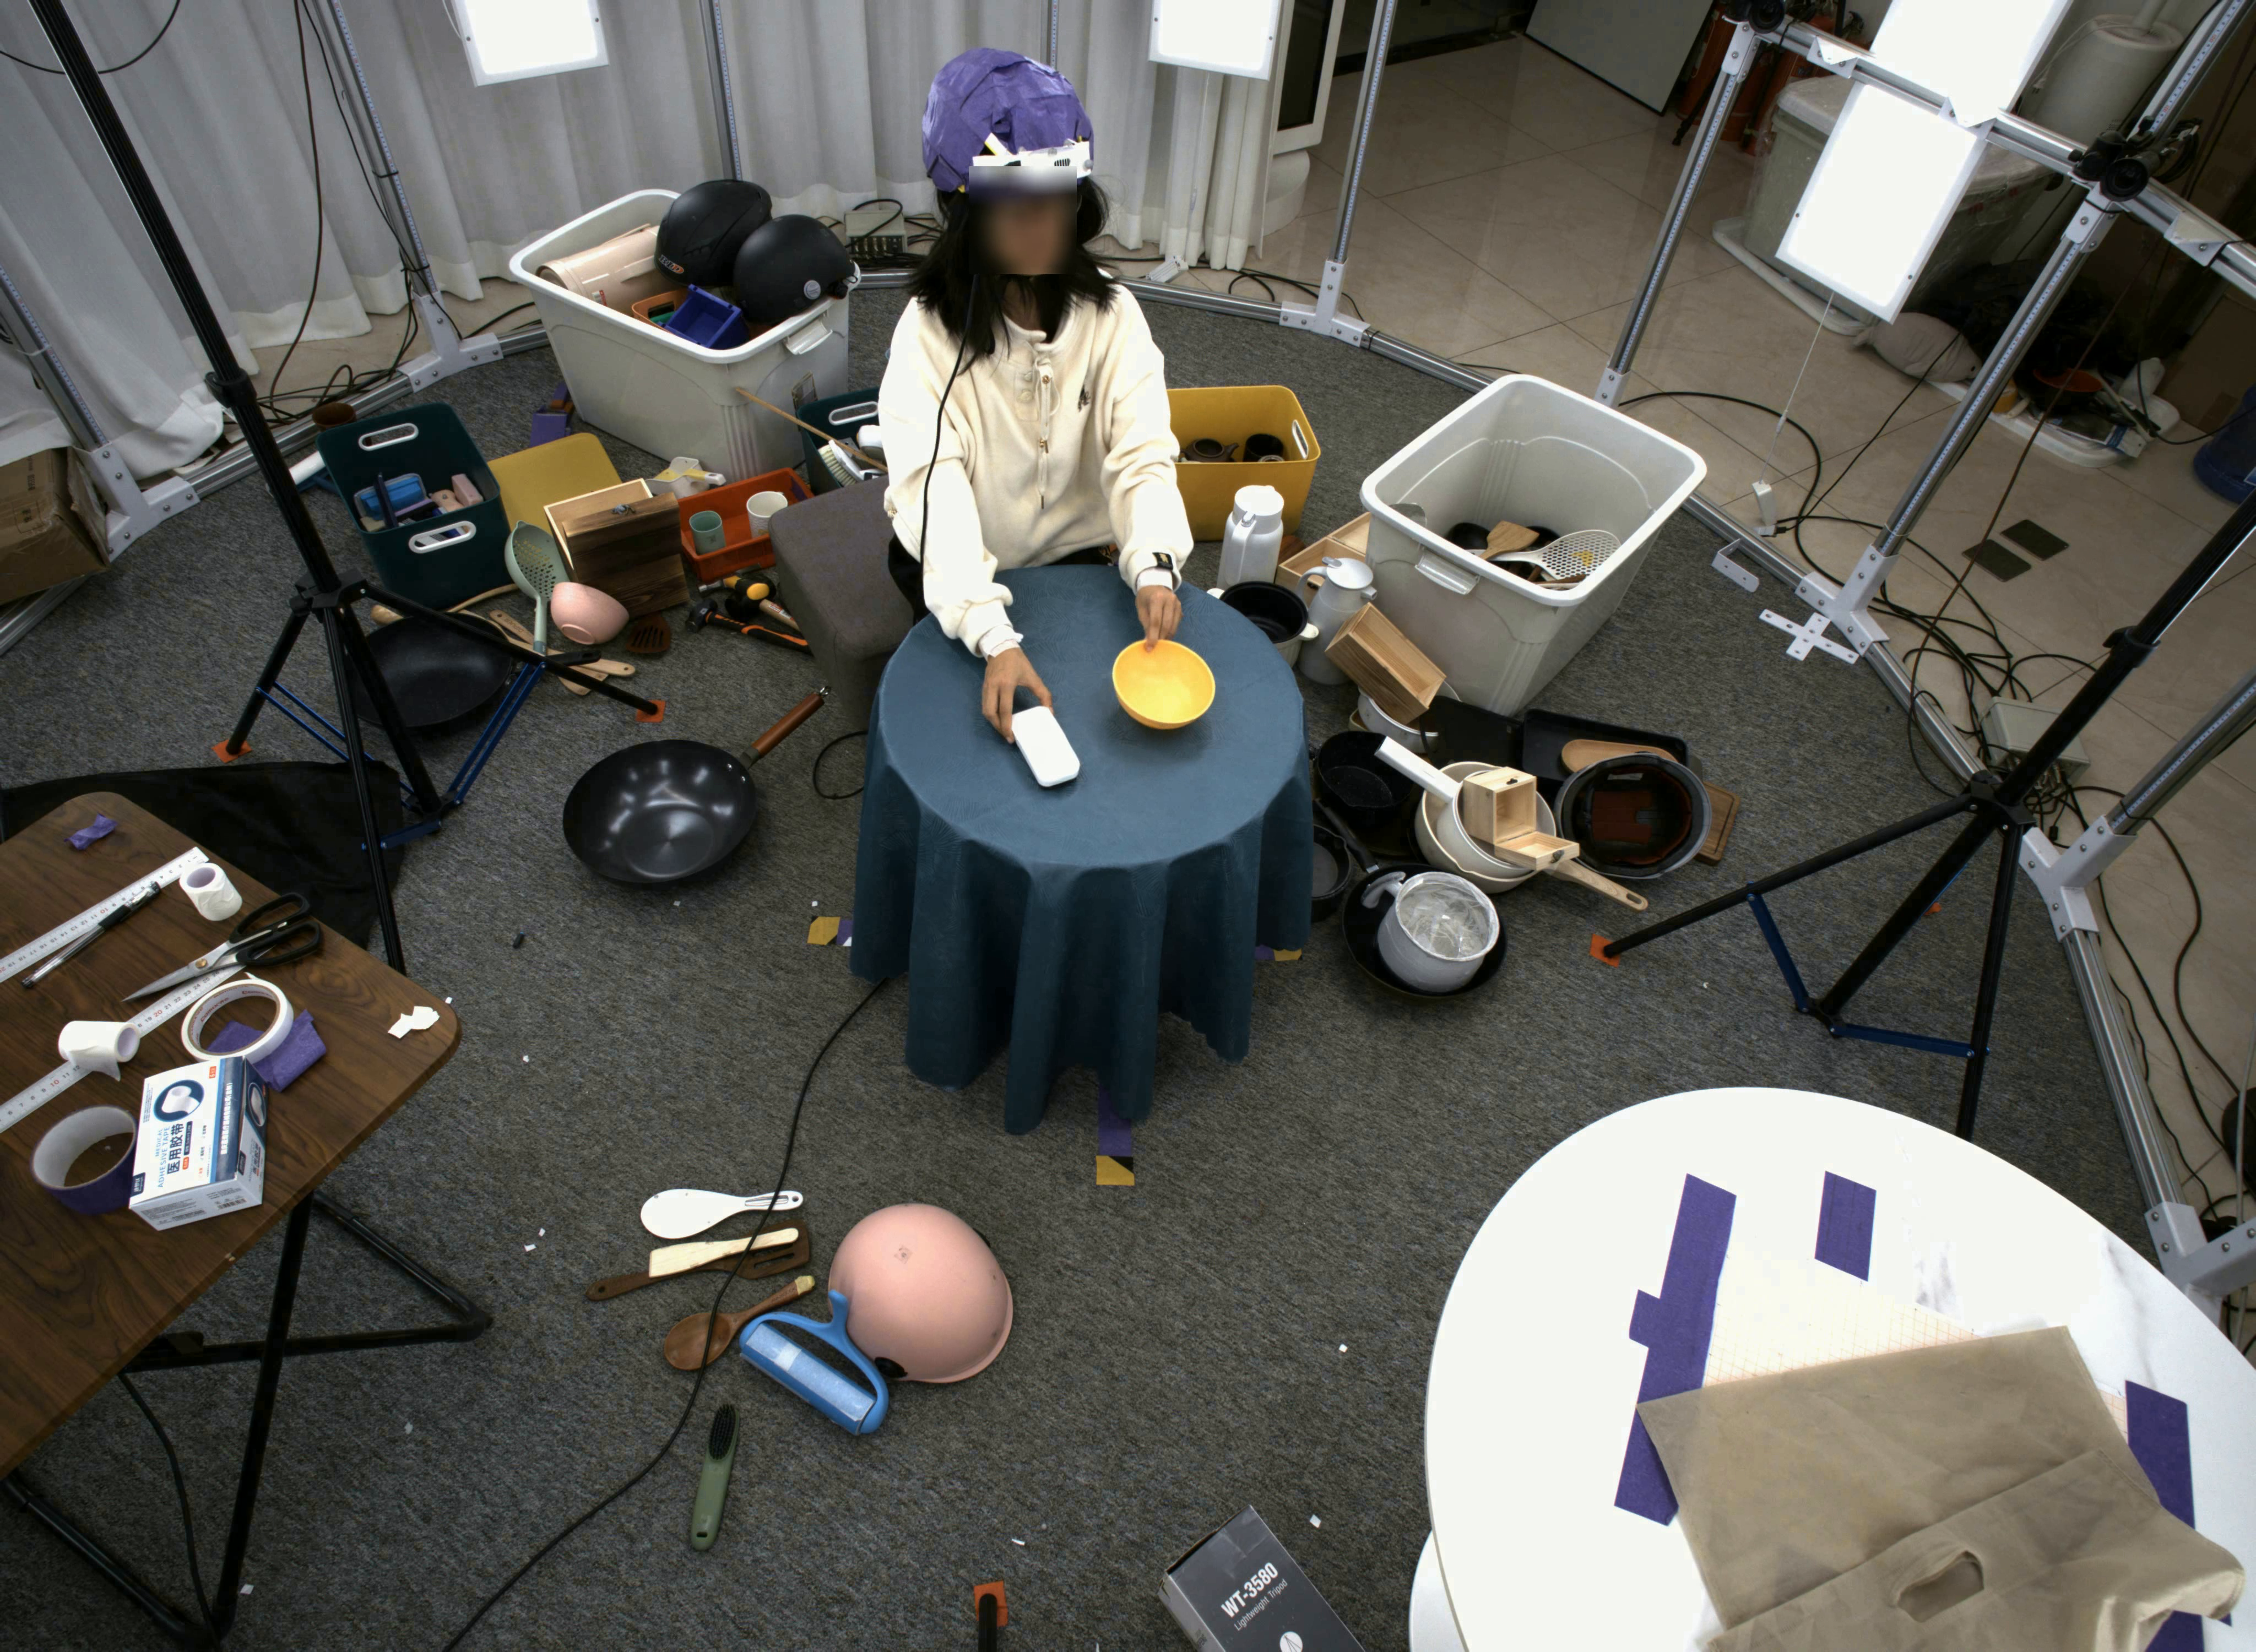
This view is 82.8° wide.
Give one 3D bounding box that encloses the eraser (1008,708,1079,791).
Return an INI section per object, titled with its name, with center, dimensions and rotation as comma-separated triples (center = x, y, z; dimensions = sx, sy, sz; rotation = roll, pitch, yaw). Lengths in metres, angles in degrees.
[eraser]
center = -0.114, -0.107, 1.734
dimensions = 0.063, 0.034, 0.134
rotation = -18, 54, -16

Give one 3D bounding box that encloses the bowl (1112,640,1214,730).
[bowl]
center = 0.044, -0.185, 1.790
dimensions = 0.145, 0.059, 0.149
rotation = 5, 57, -9
